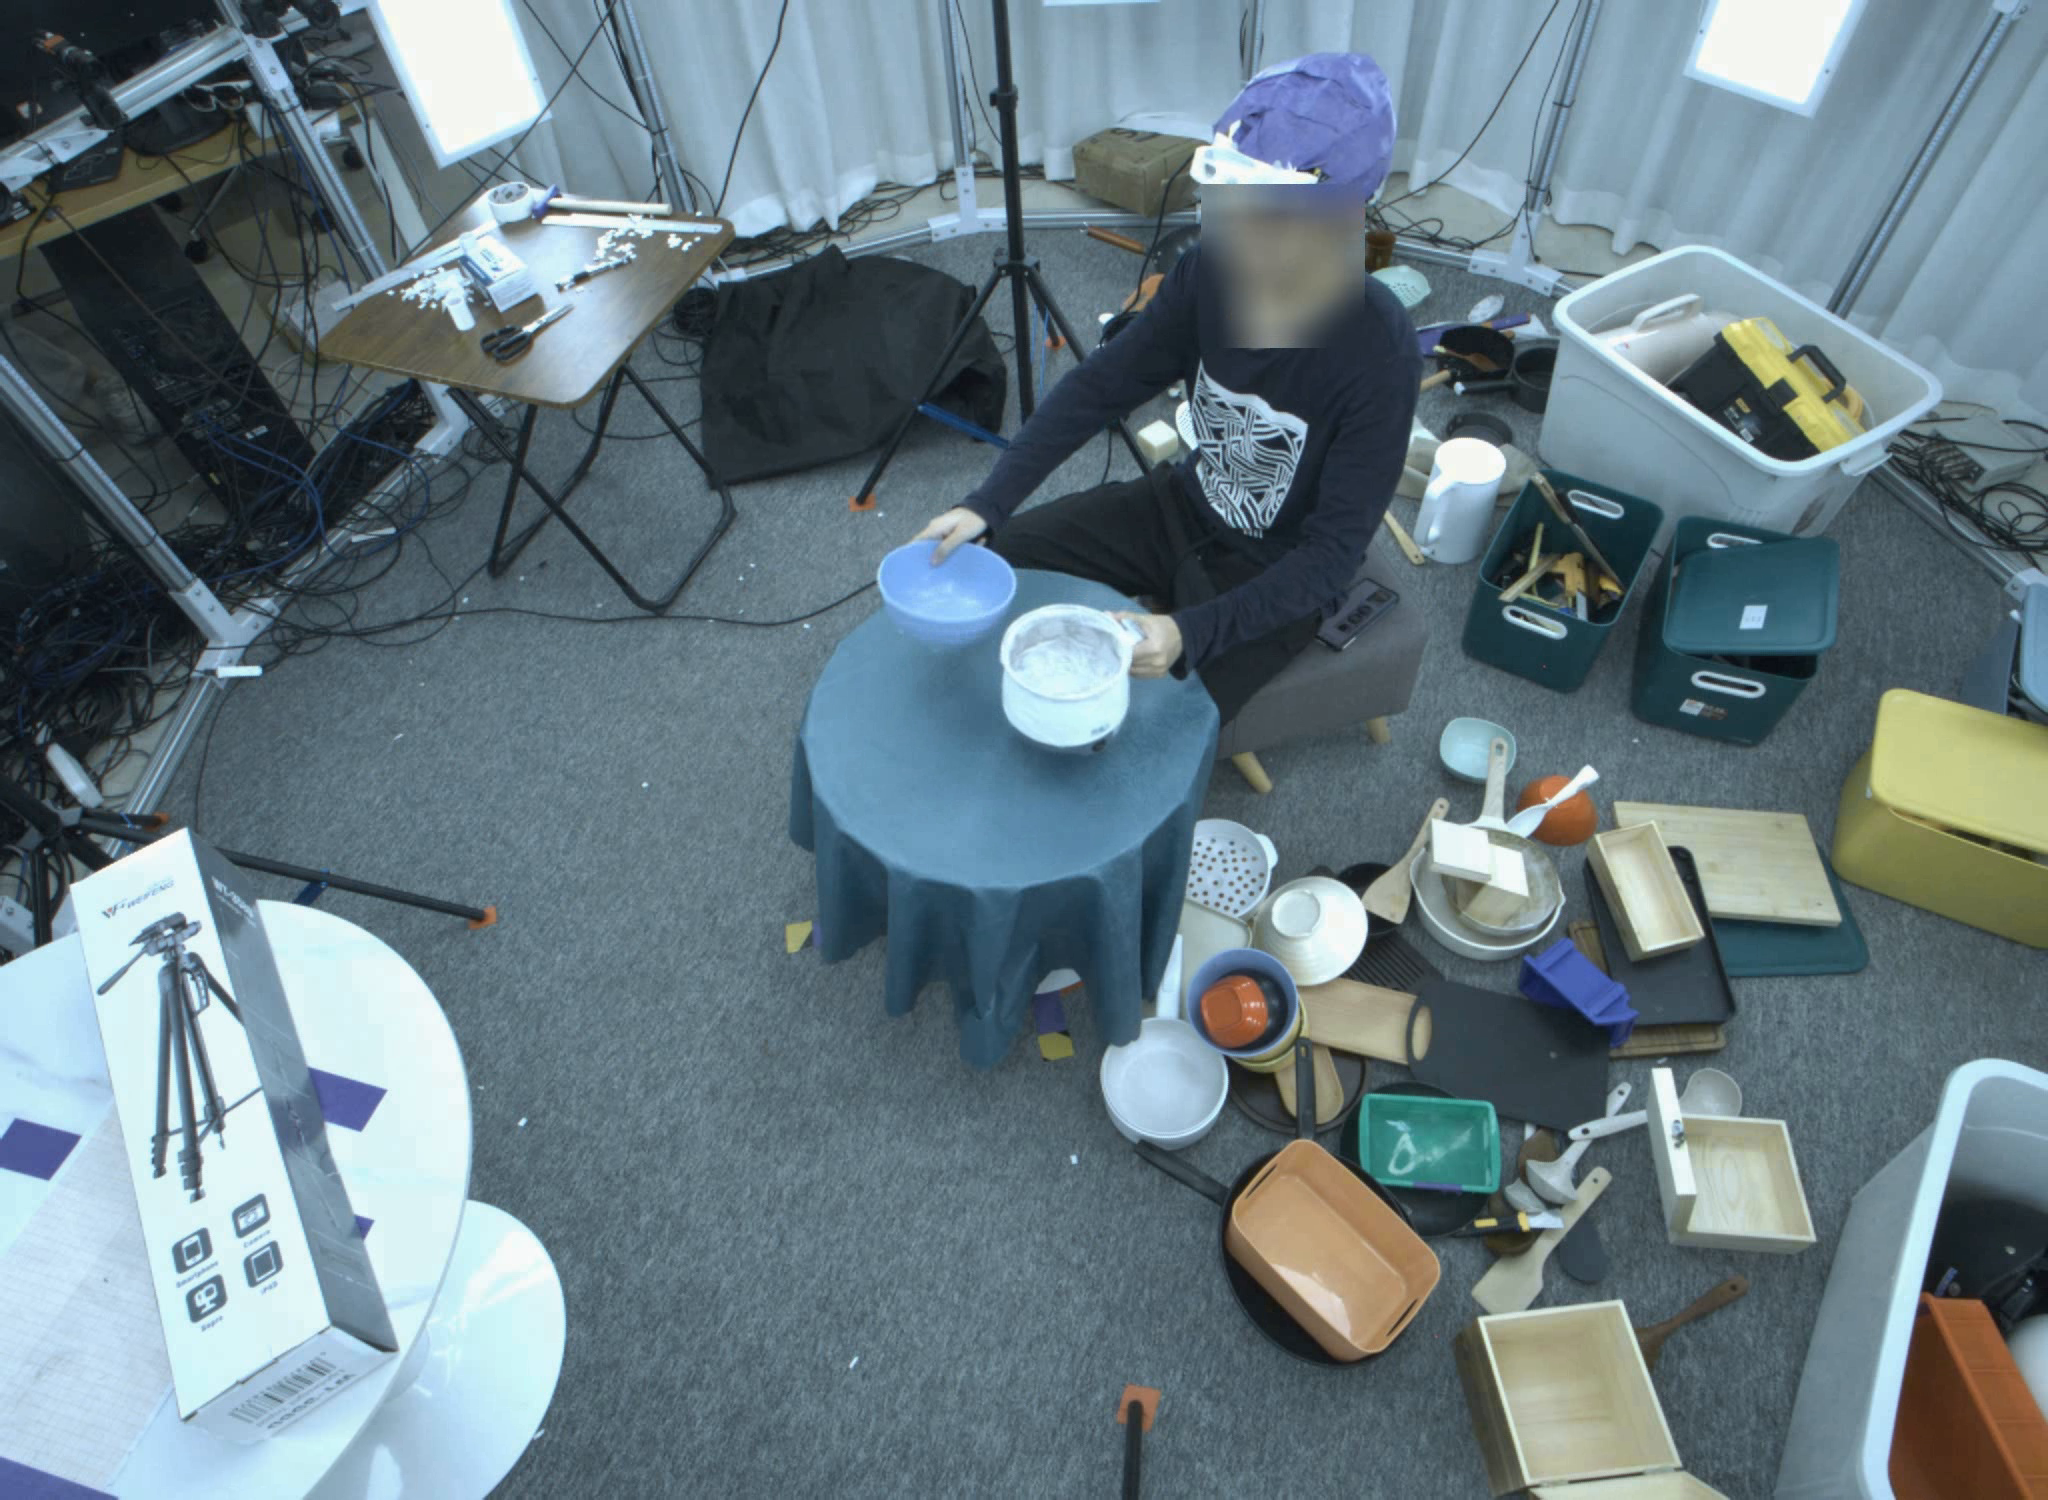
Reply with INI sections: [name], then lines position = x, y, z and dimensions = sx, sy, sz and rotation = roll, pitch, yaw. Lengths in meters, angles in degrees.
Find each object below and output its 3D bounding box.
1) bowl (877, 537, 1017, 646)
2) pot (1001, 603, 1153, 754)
[bowl]
position = -0.112, -0.213, 1.746
dimensions = 0.197, 0.096, 0.194
rotation = 4, 43, -3
[pot]
position = 0.080, -0.109, 1.716
dimensions = 0.236, 0.138, 0.175
rotation = -28, 60, -21
